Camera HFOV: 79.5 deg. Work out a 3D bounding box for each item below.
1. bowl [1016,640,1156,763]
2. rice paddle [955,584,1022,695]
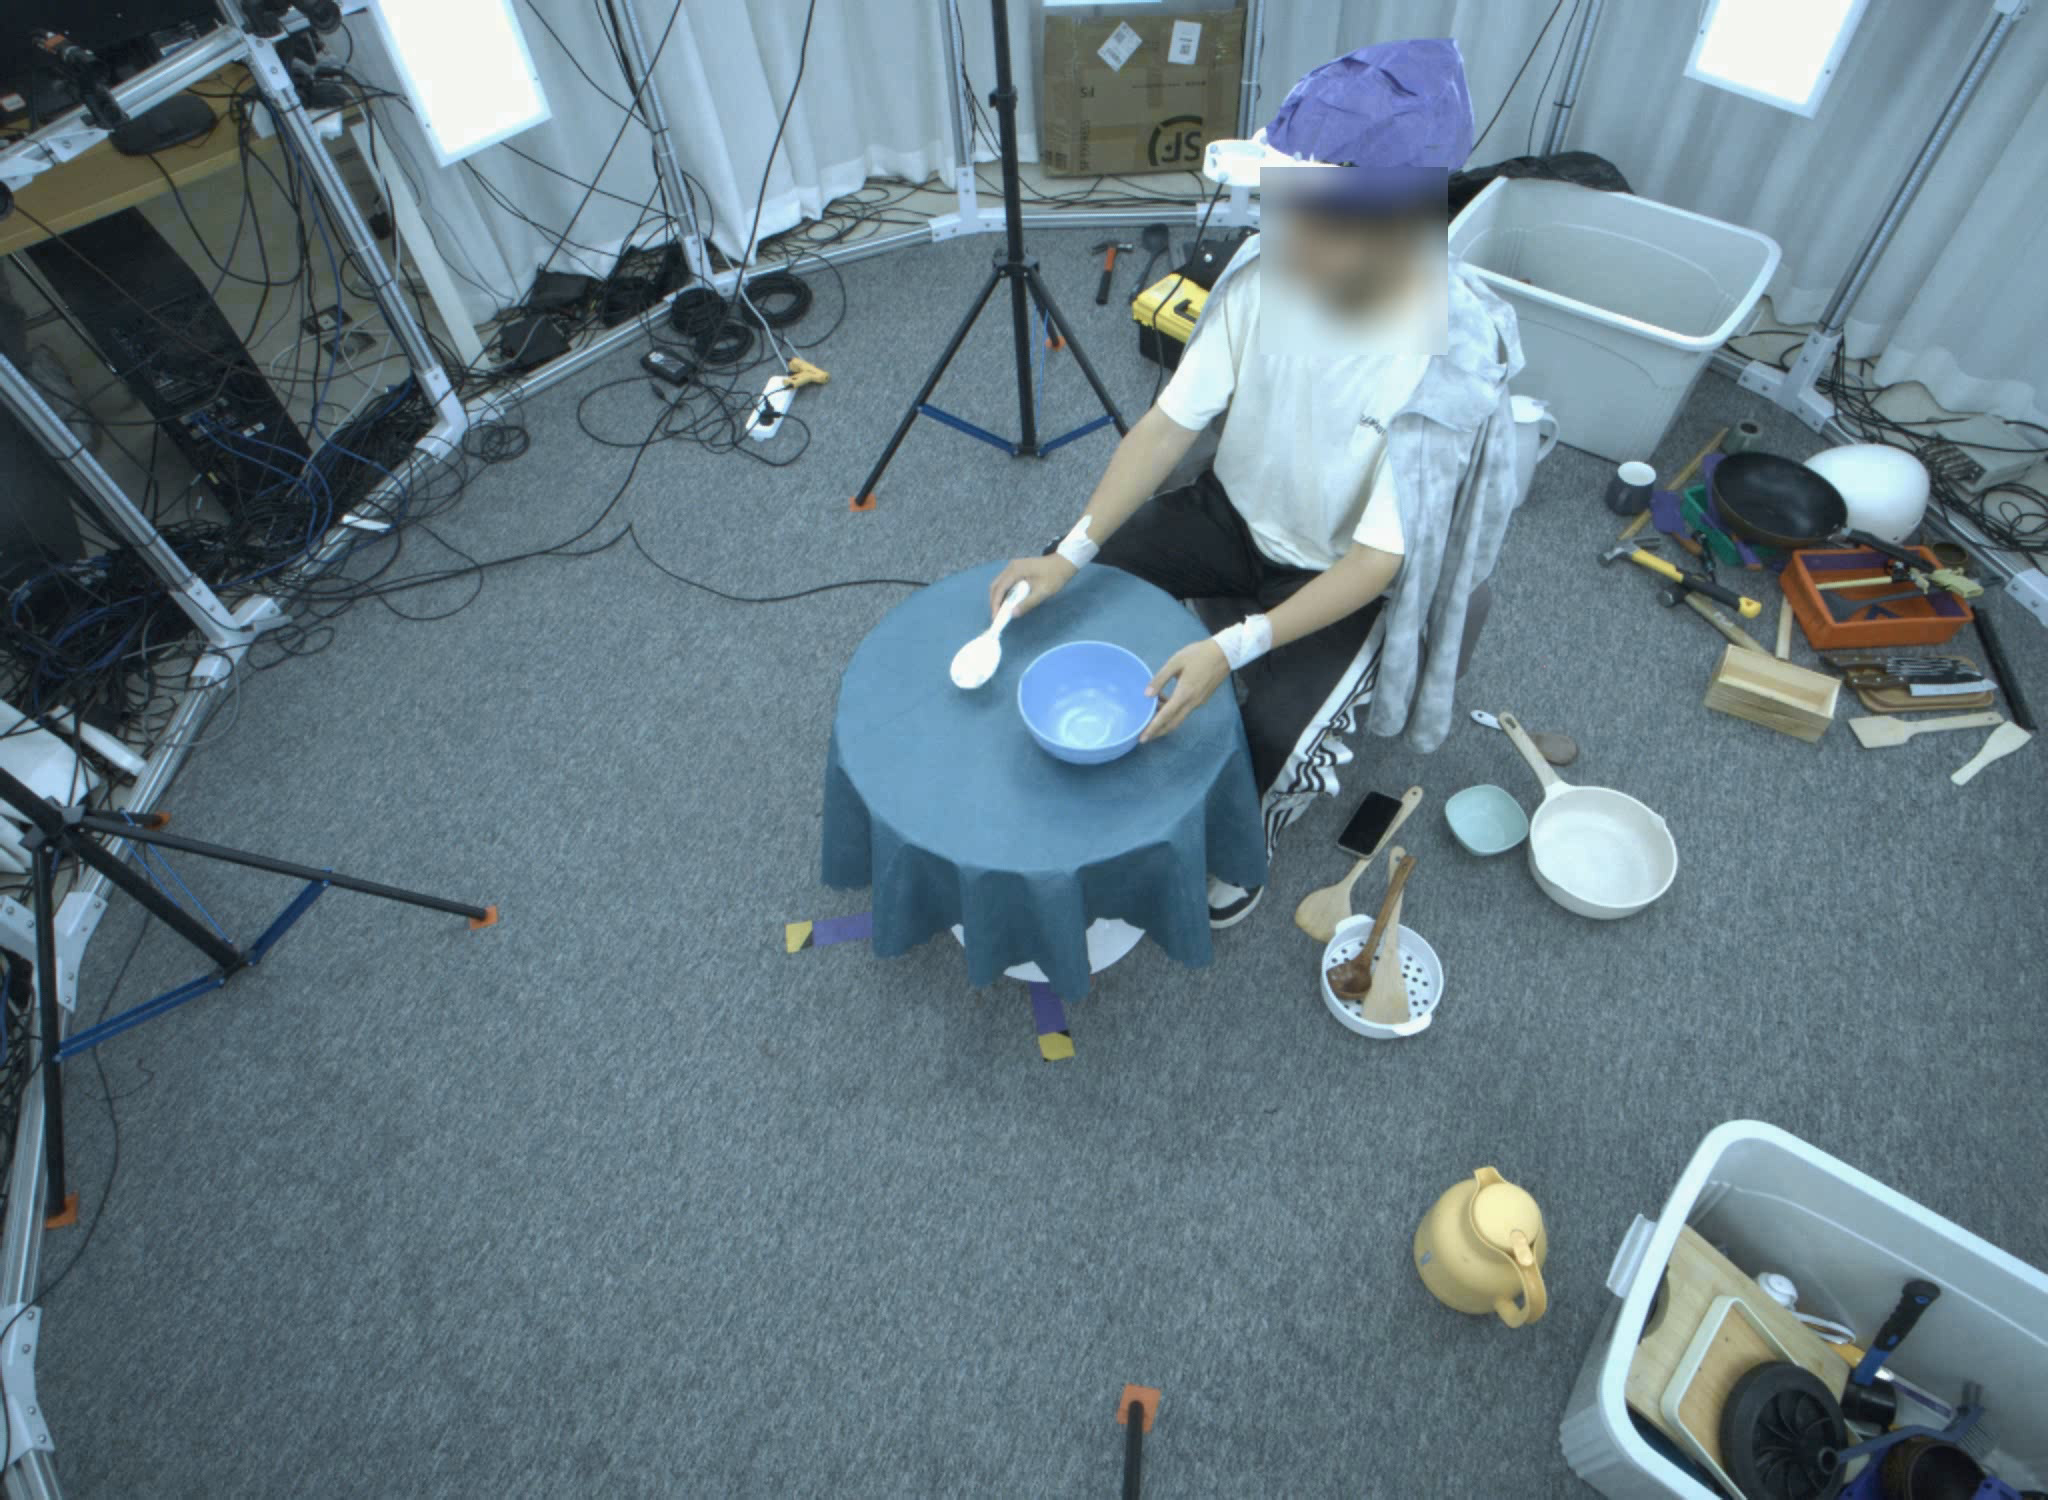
[{"bbox_3d":[0.091,-0.054,1.765,0.196,0.096,0.194,-2,55,4],"label":"bowl"},{"bbox_3d":[-0.048,-0.166,1.850,0.068,0.029,0.205,18,59,6],"label":"rice paddle"}]
